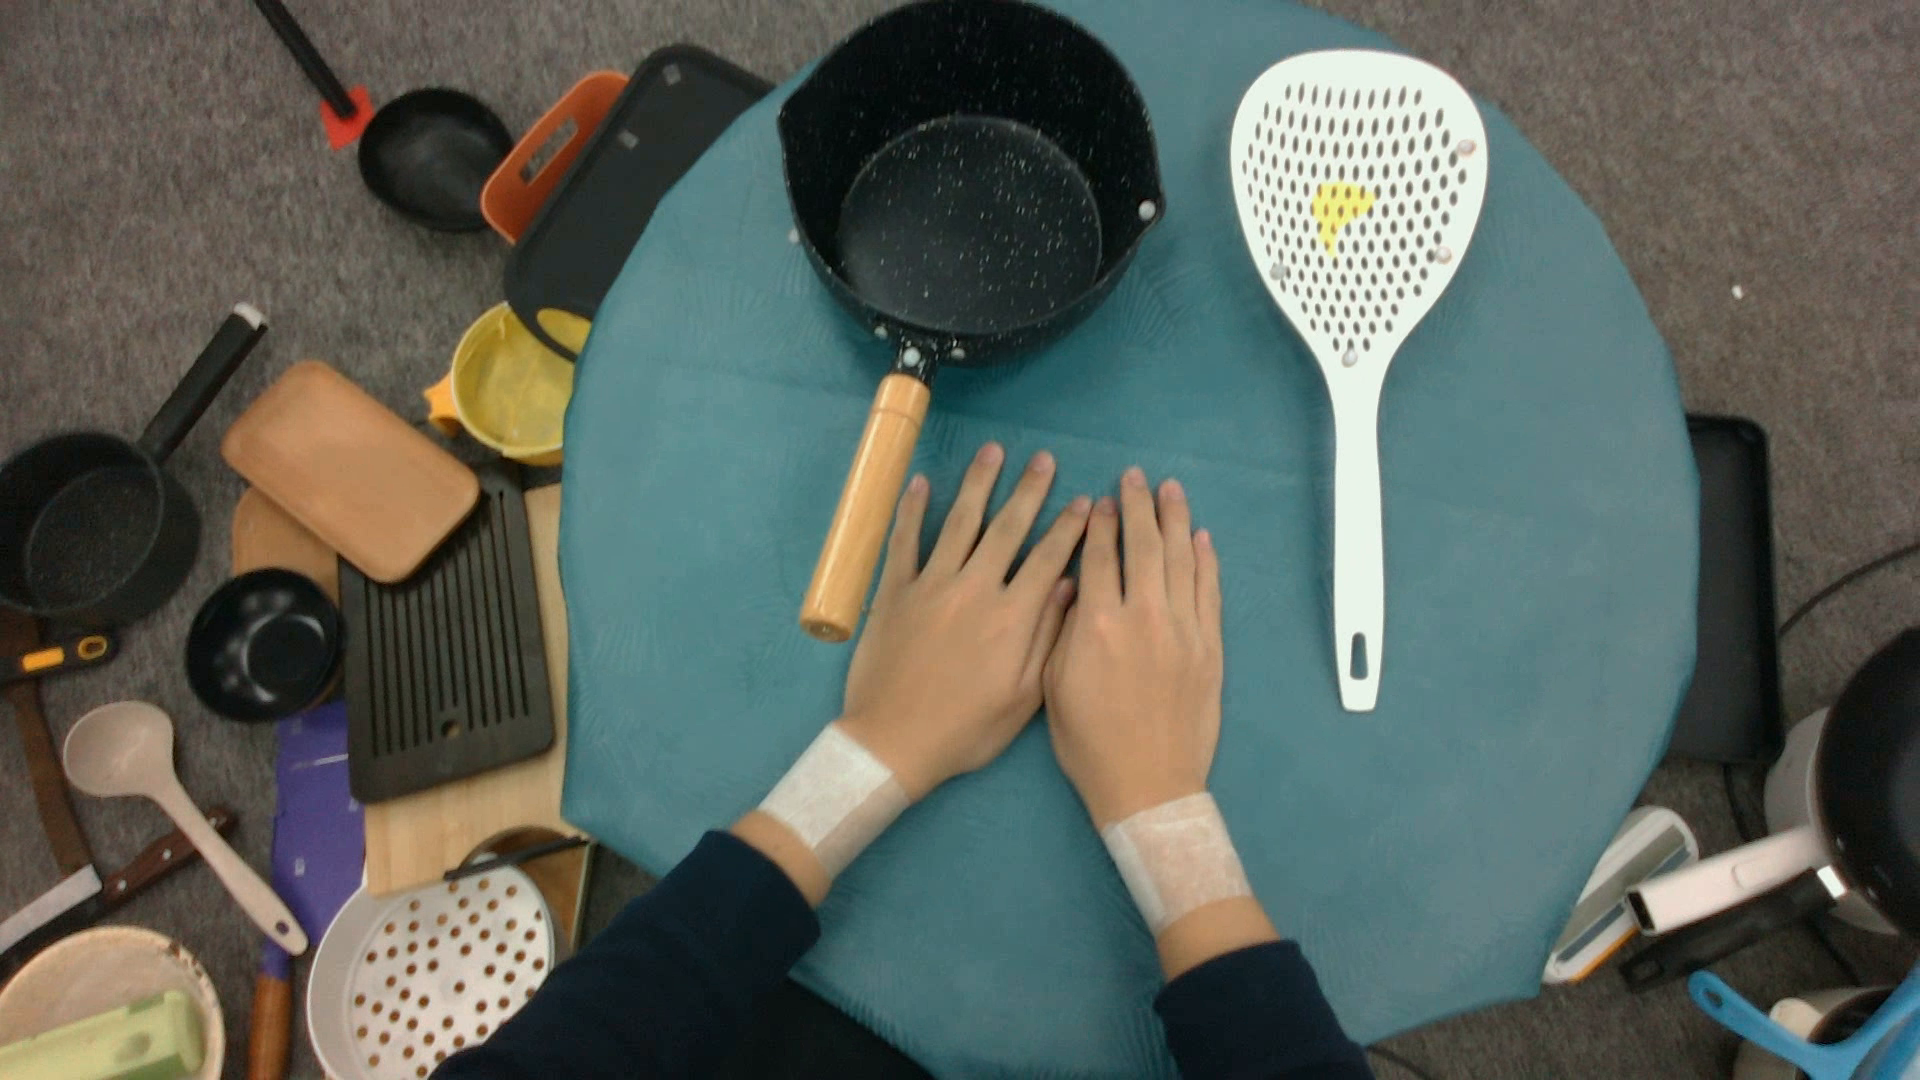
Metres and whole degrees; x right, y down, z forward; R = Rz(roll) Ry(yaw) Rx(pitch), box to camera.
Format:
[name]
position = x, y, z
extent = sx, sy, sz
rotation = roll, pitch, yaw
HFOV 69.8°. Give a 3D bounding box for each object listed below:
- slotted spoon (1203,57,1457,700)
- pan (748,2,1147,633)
[slotted spoon]
position = 0.197, -0.092, 0.724
extent = 0.137, 0.050, 0.349
rotation = 1, 72, -1
[pan]
position = -0.024, -0.106, 0.693
extent = 0.207, 0.108, 0.344
rotation = 13, 73, 2
